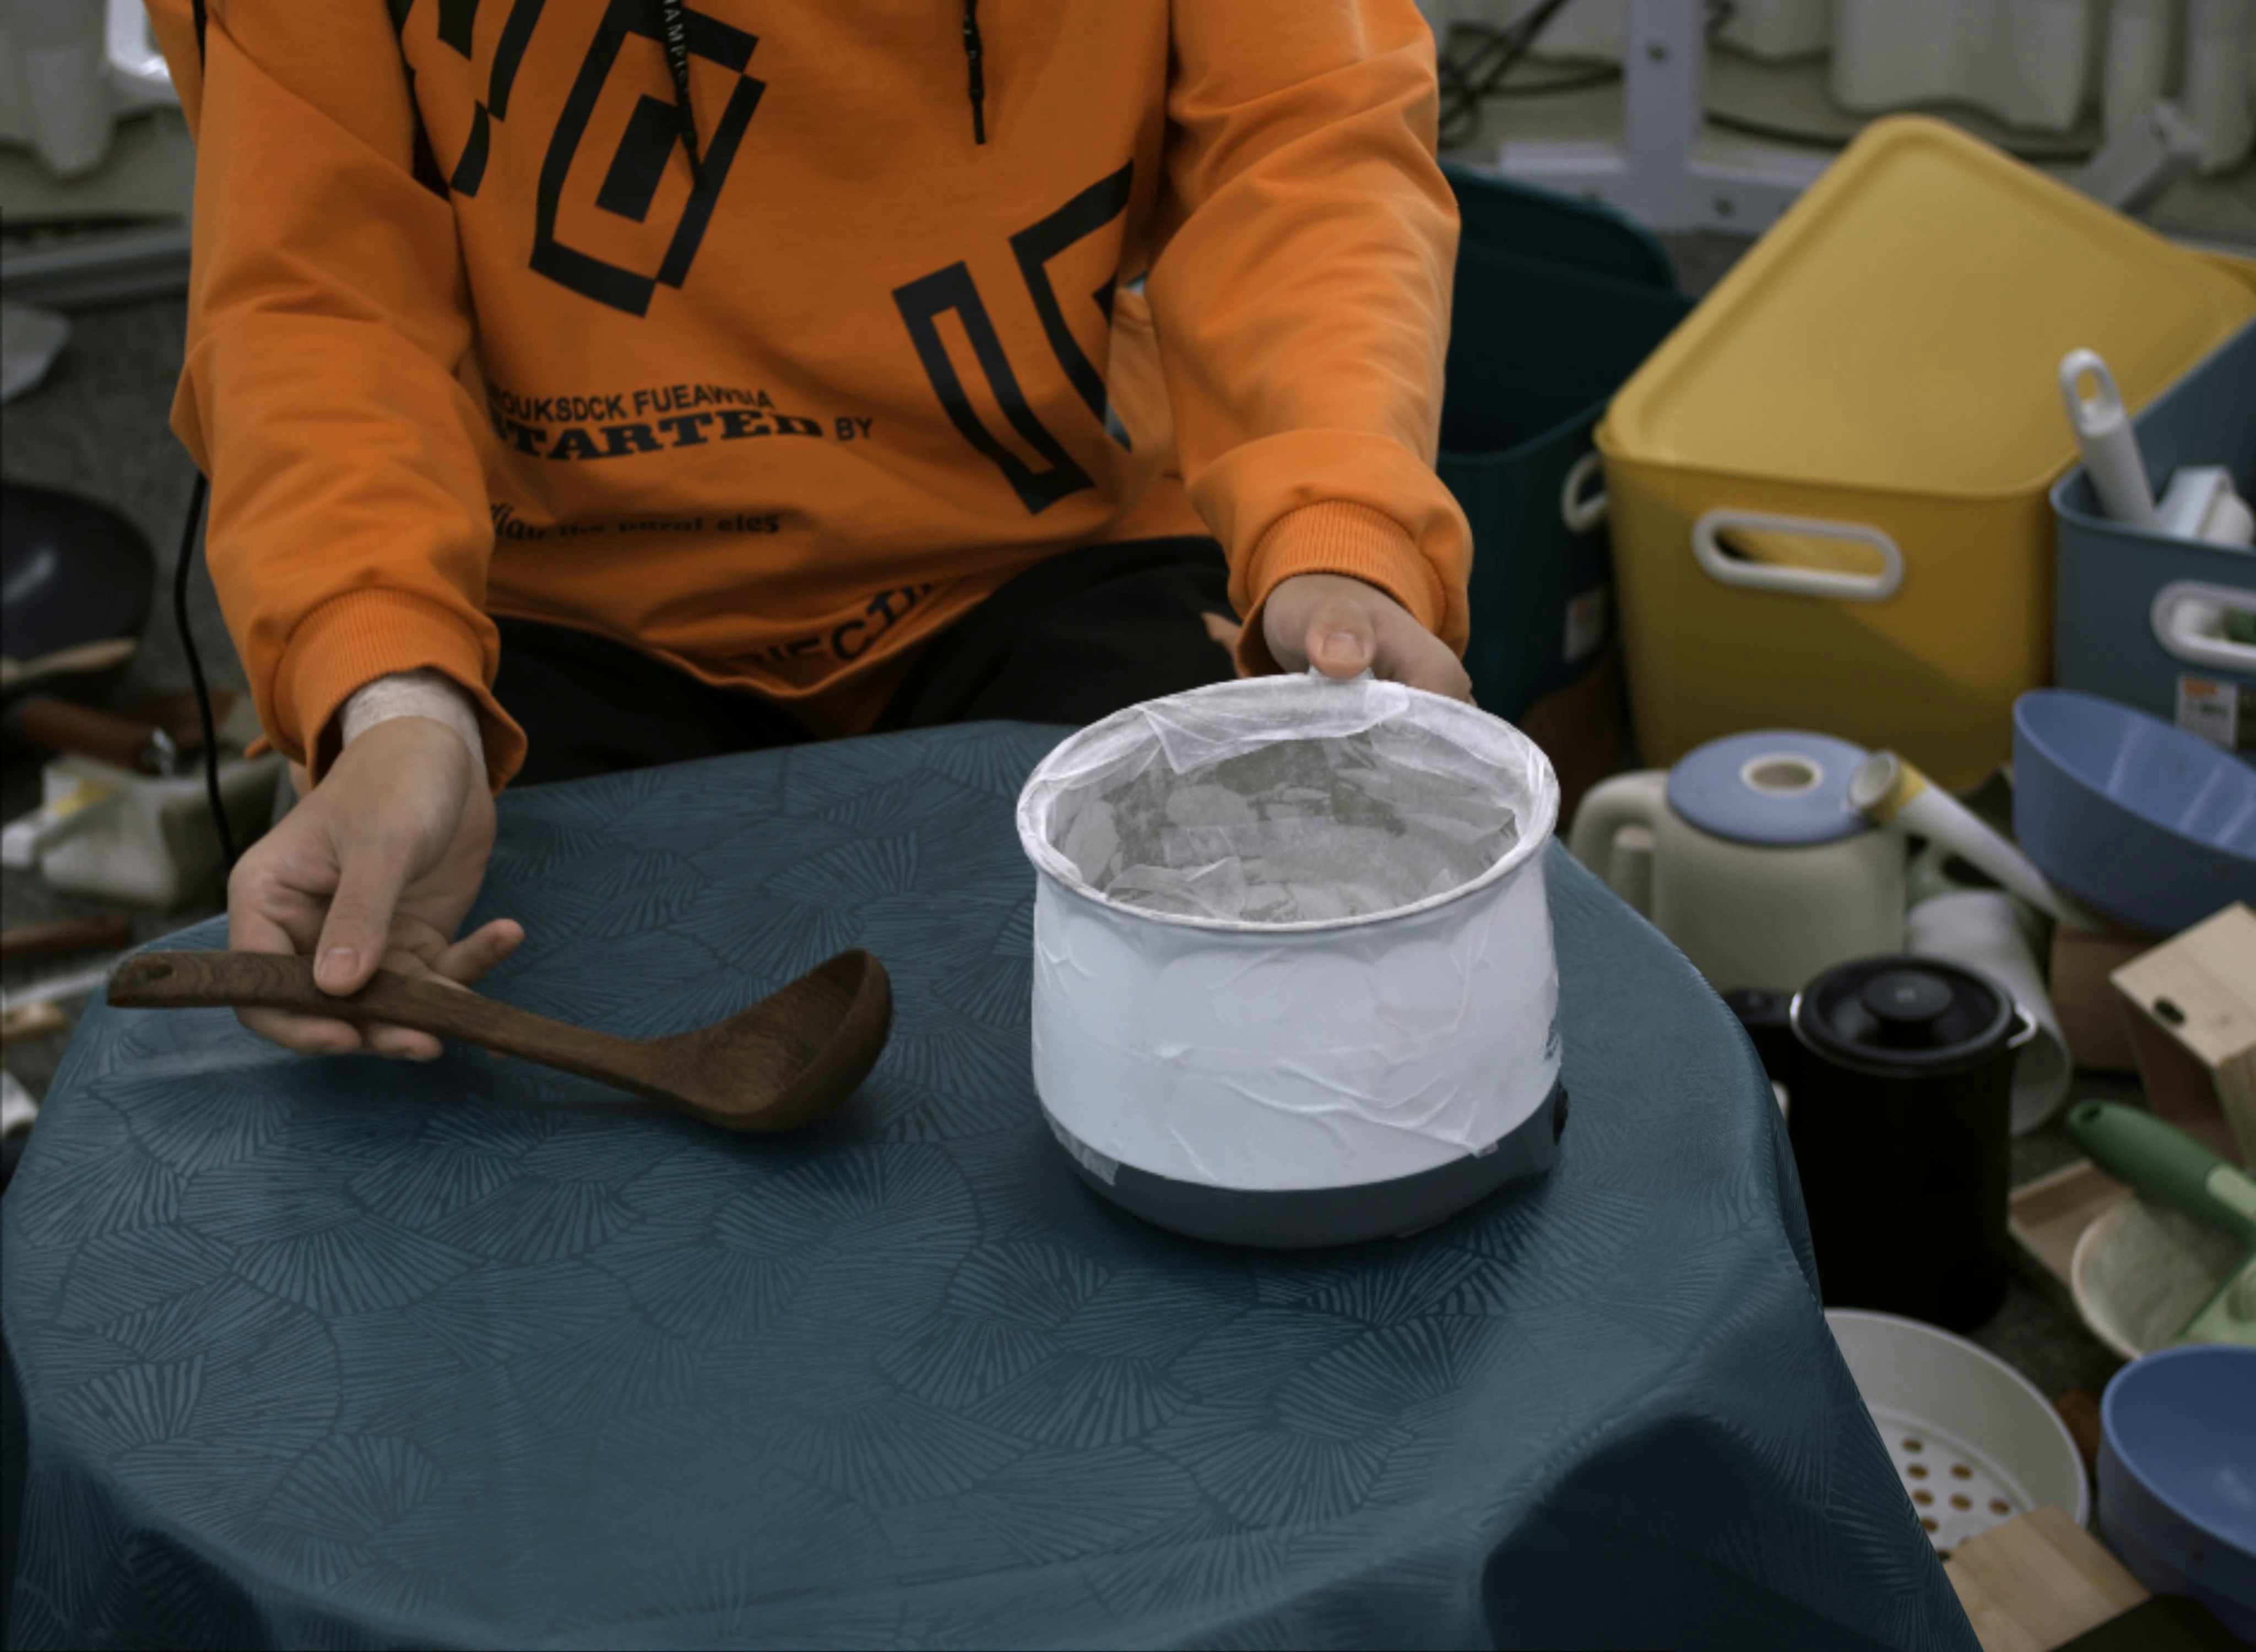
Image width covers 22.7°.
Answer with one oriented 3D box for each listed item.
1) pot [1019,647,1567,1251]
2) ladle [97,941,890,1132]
[{"bbox_3d":[0.059,0.034,1.878,0.177,0.135,0.237,2,27,9],"label":"pot"},{"bbox_3d":[-0.216,0.053,1.908,0.273,0.070,0.077,10,34,4],"label":"ladle"}]
